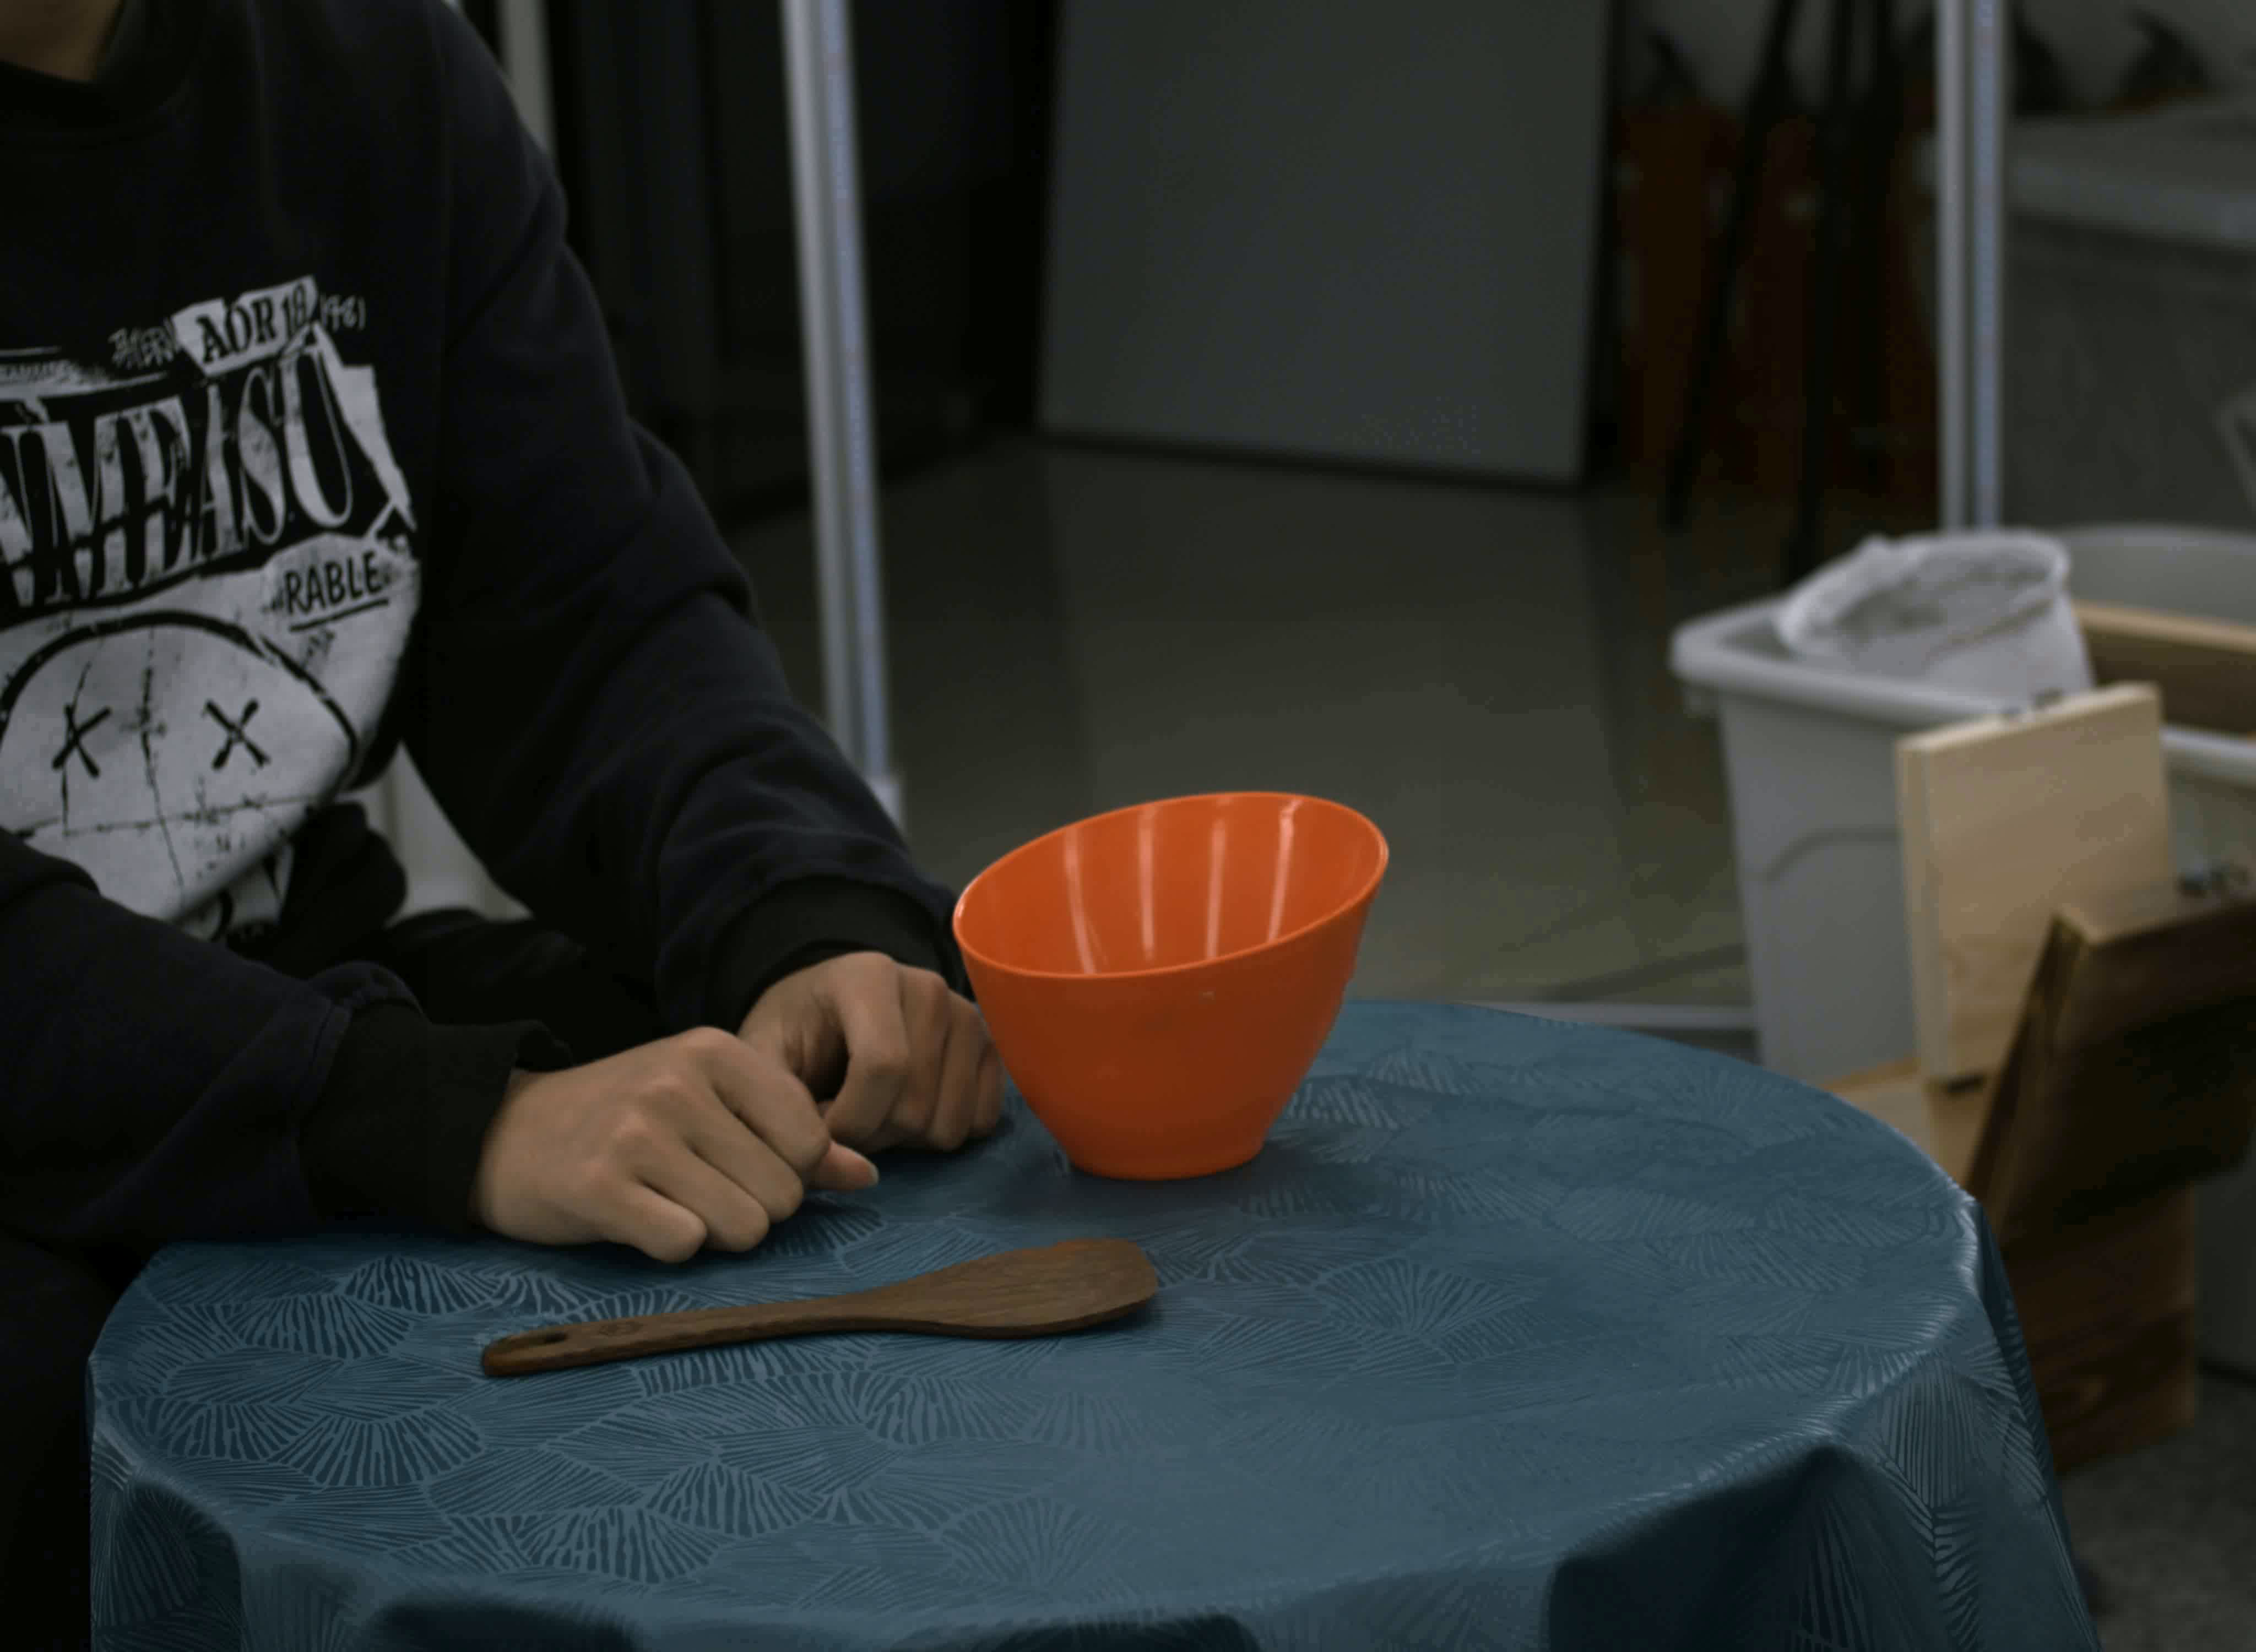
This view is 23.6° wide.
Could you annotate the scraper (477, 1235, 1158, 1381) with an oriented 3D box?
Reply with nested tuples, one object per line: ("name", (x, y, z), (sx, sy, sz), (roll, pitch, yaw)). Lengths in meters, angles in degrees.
("scraper", (-0.095, 0.152, 1.659), (0.208, 0.011, 0.076), (-7, 13, -7))

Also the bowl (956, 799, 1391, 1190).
("bowl", (0.017, 0.059, 1.805), (0.146, 0.106, 0.148), (-3, 14, 0))
